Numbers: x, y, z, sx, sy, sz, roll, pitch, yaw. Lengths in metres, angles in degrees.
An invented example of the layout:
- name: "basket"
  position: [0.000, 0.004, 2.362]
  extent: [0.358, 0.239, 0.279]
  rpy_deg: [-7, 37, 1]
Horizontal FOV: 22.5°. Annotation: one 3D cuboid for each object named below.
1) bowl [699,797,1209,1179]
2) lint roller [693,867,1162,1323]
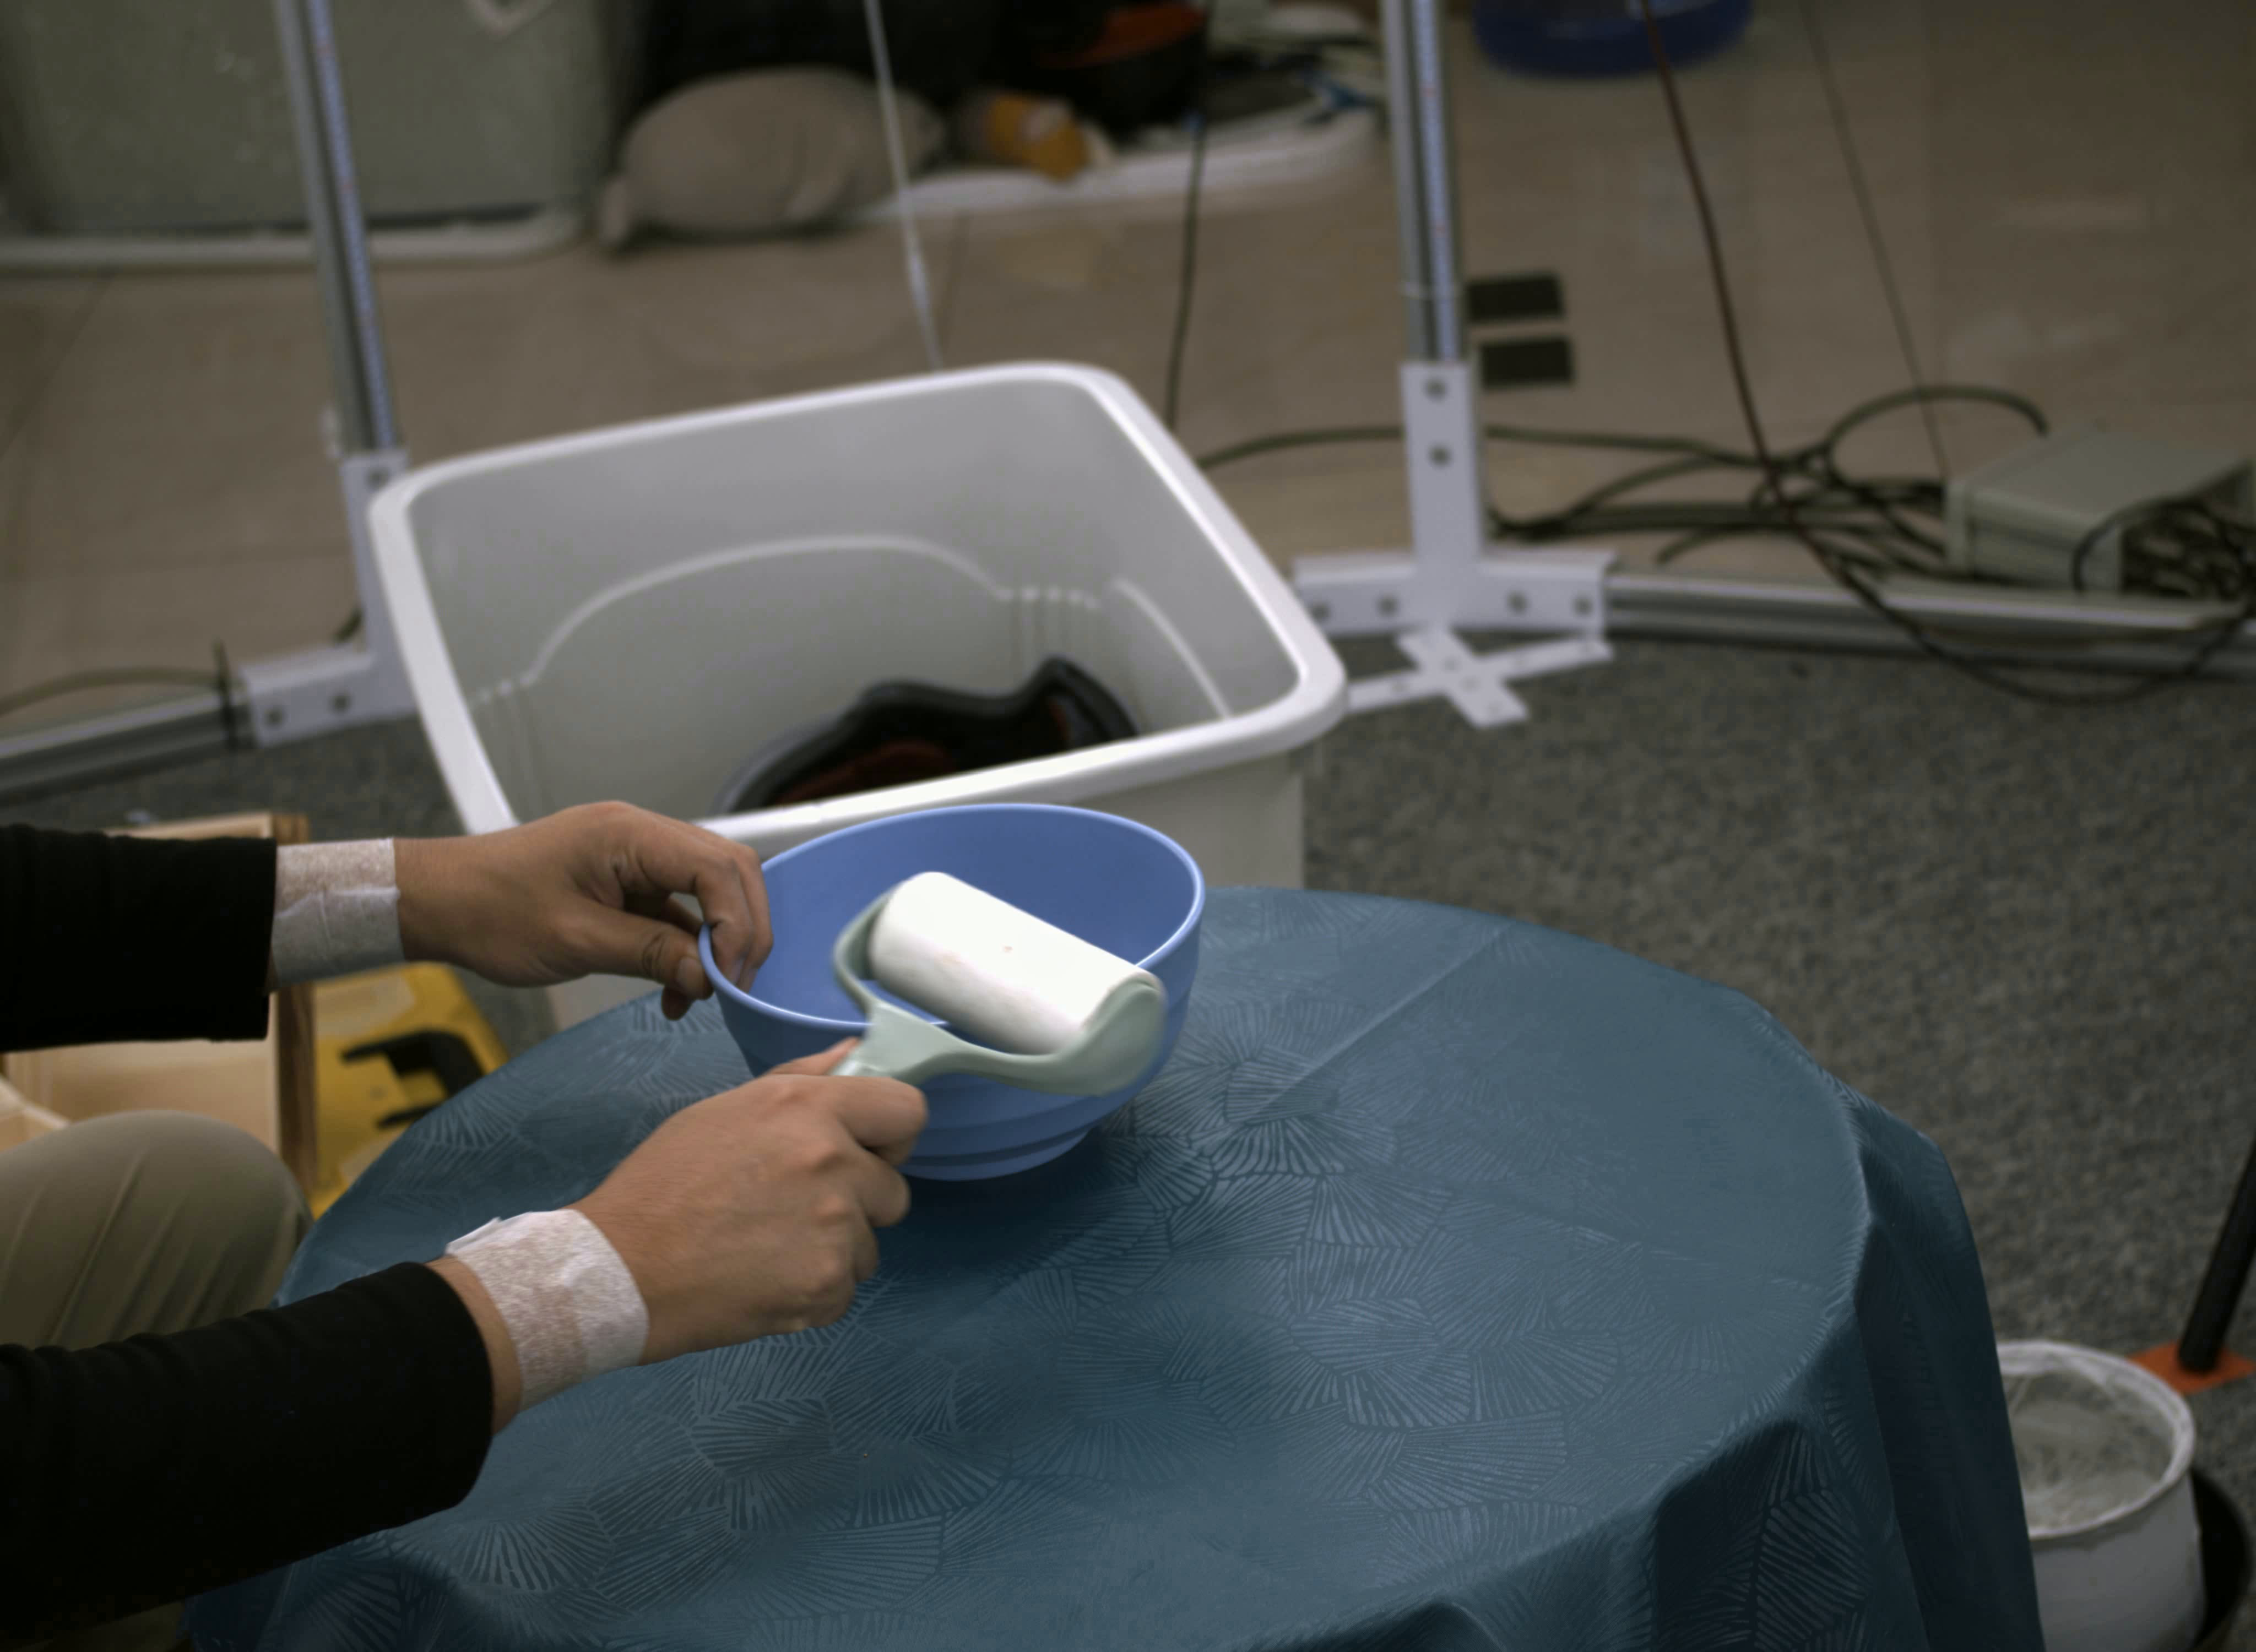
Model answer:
- name: "bowl"
  position: [-0.063, 0.073, 2.189]
  extent: [0.196, 0.097, 0.193]
  rpy_deg: [-5, 26, 2]
- name: "lint roller"
  position: [-0.089, 0.097, 1.991]
  extent: [0.115, 0.049, 0.195]
  rpy_deg: [27, 55, 32]
